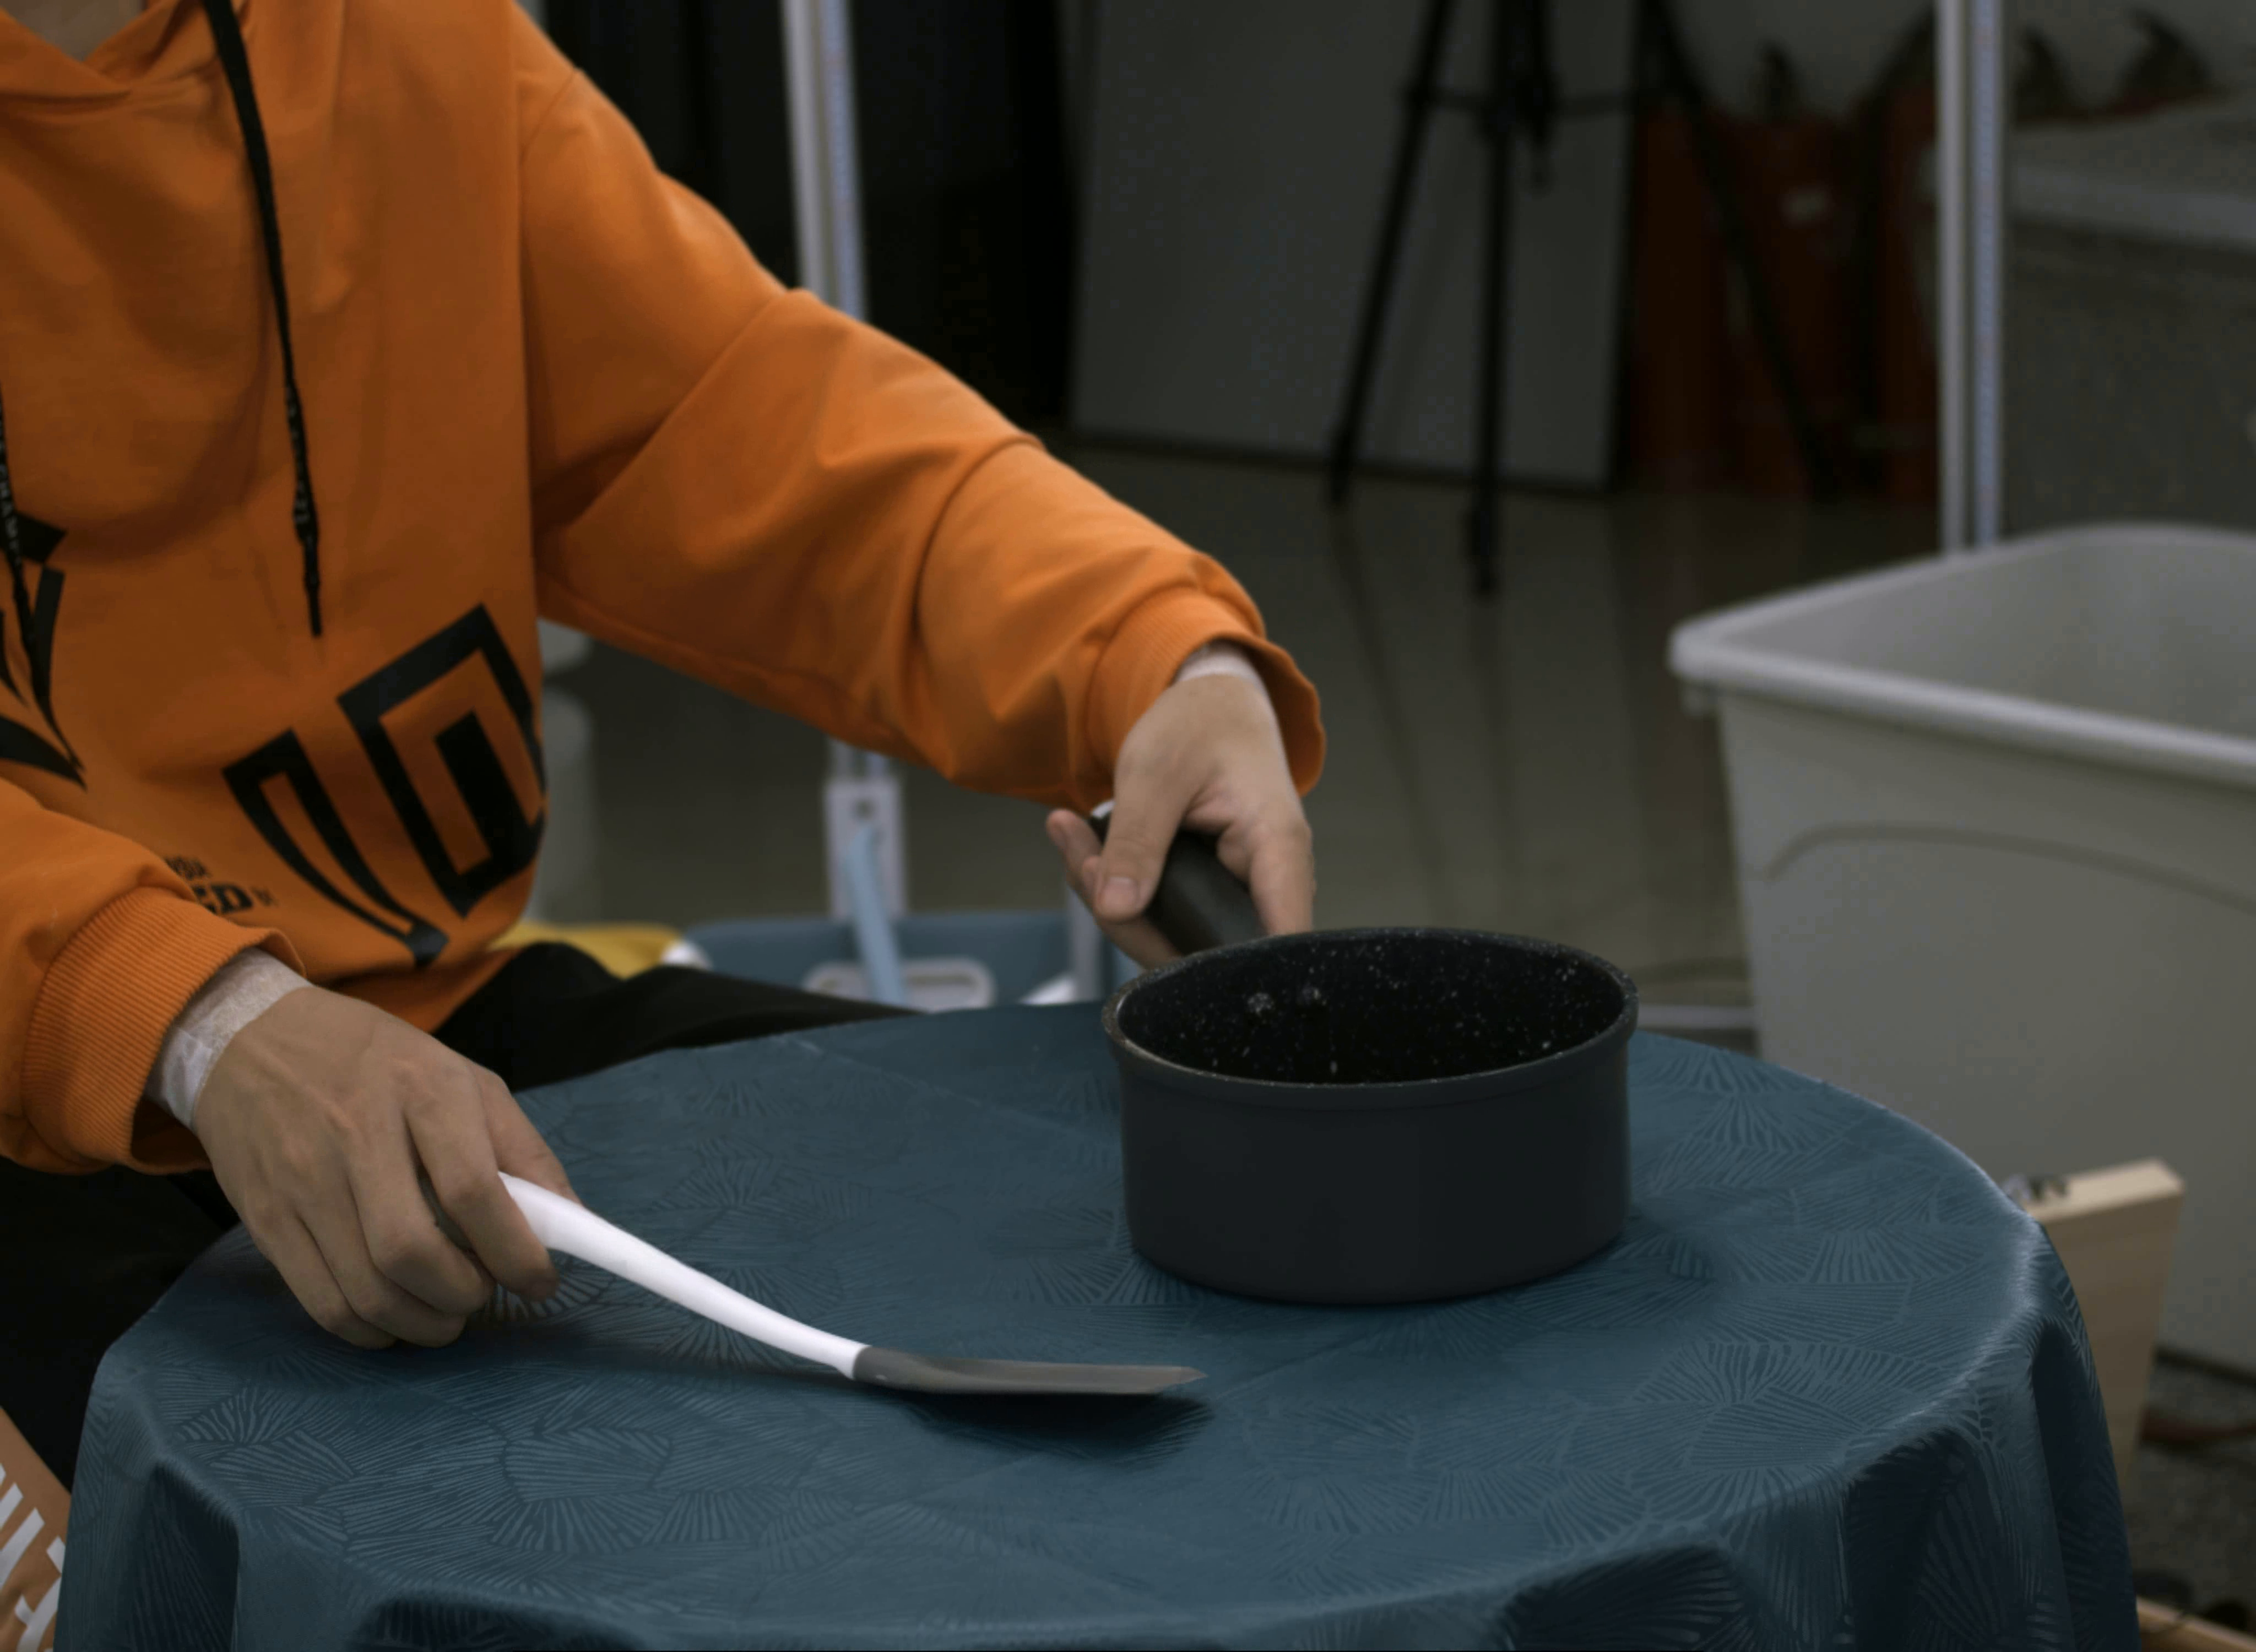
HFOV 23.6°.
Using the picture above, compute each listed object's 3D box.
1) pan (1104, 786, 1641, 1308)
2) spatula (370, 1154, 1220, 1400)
[{"bbox_3d":[0.057,0.069,1.781,0.169,0.087,0.331,-7,16,-14],"label":"pan"},{"bbox_3d":[-0.105,0.144,1.618,0.289,0.032,0.058,12,3,30],"label":"spatula"}]
